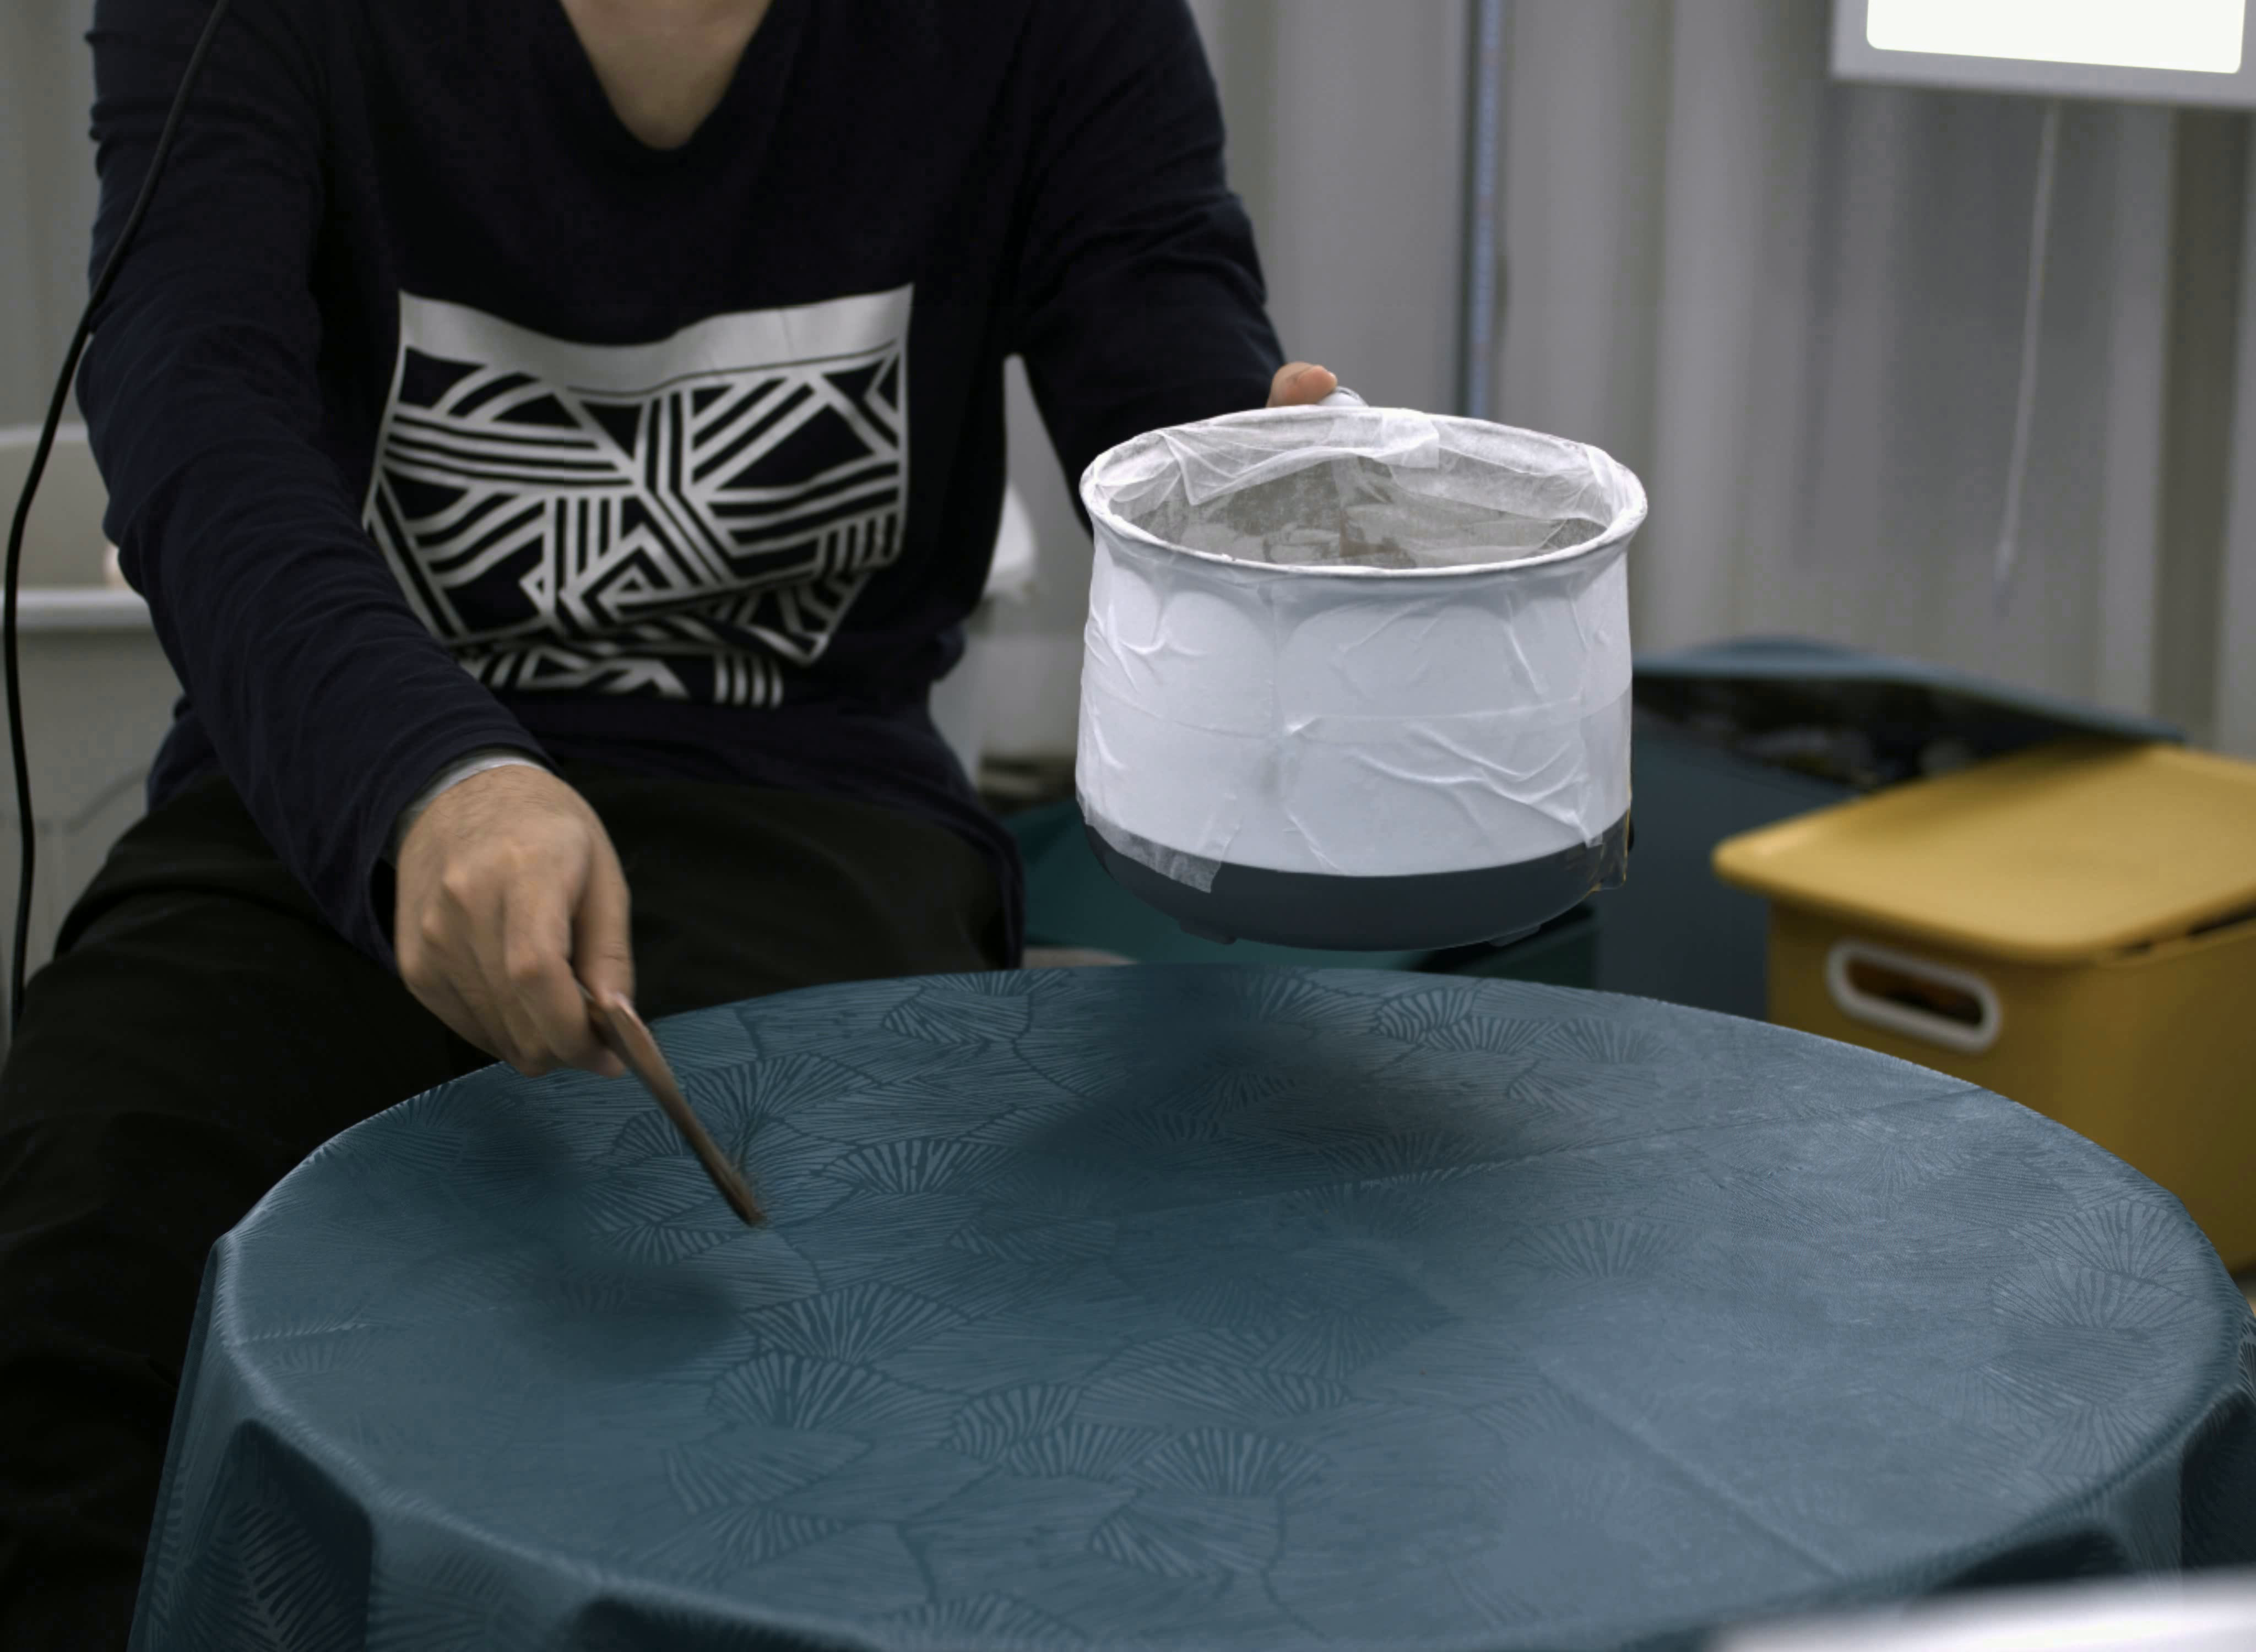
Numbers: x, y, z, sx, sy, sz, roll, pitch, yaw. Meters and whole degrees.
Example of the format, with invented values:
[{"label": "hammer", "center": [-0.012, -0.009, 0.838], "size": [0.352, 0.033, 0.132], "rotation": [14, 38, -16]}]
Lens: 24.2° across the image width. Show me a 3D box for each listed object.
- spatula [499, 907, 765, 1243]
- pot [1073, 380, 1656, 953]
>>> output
[{"label": "spatula", "center": [-0.154, 0.069, 1.581], "size": [0.009, 0.073, 0.213], "rotation": [-35, 30, -9]}, {"label": "pot", "center": [0.070, -0.056, 1.680], "size": [0.178, 0.138, 0.232], "rotation": [2, 21, -5]}]
